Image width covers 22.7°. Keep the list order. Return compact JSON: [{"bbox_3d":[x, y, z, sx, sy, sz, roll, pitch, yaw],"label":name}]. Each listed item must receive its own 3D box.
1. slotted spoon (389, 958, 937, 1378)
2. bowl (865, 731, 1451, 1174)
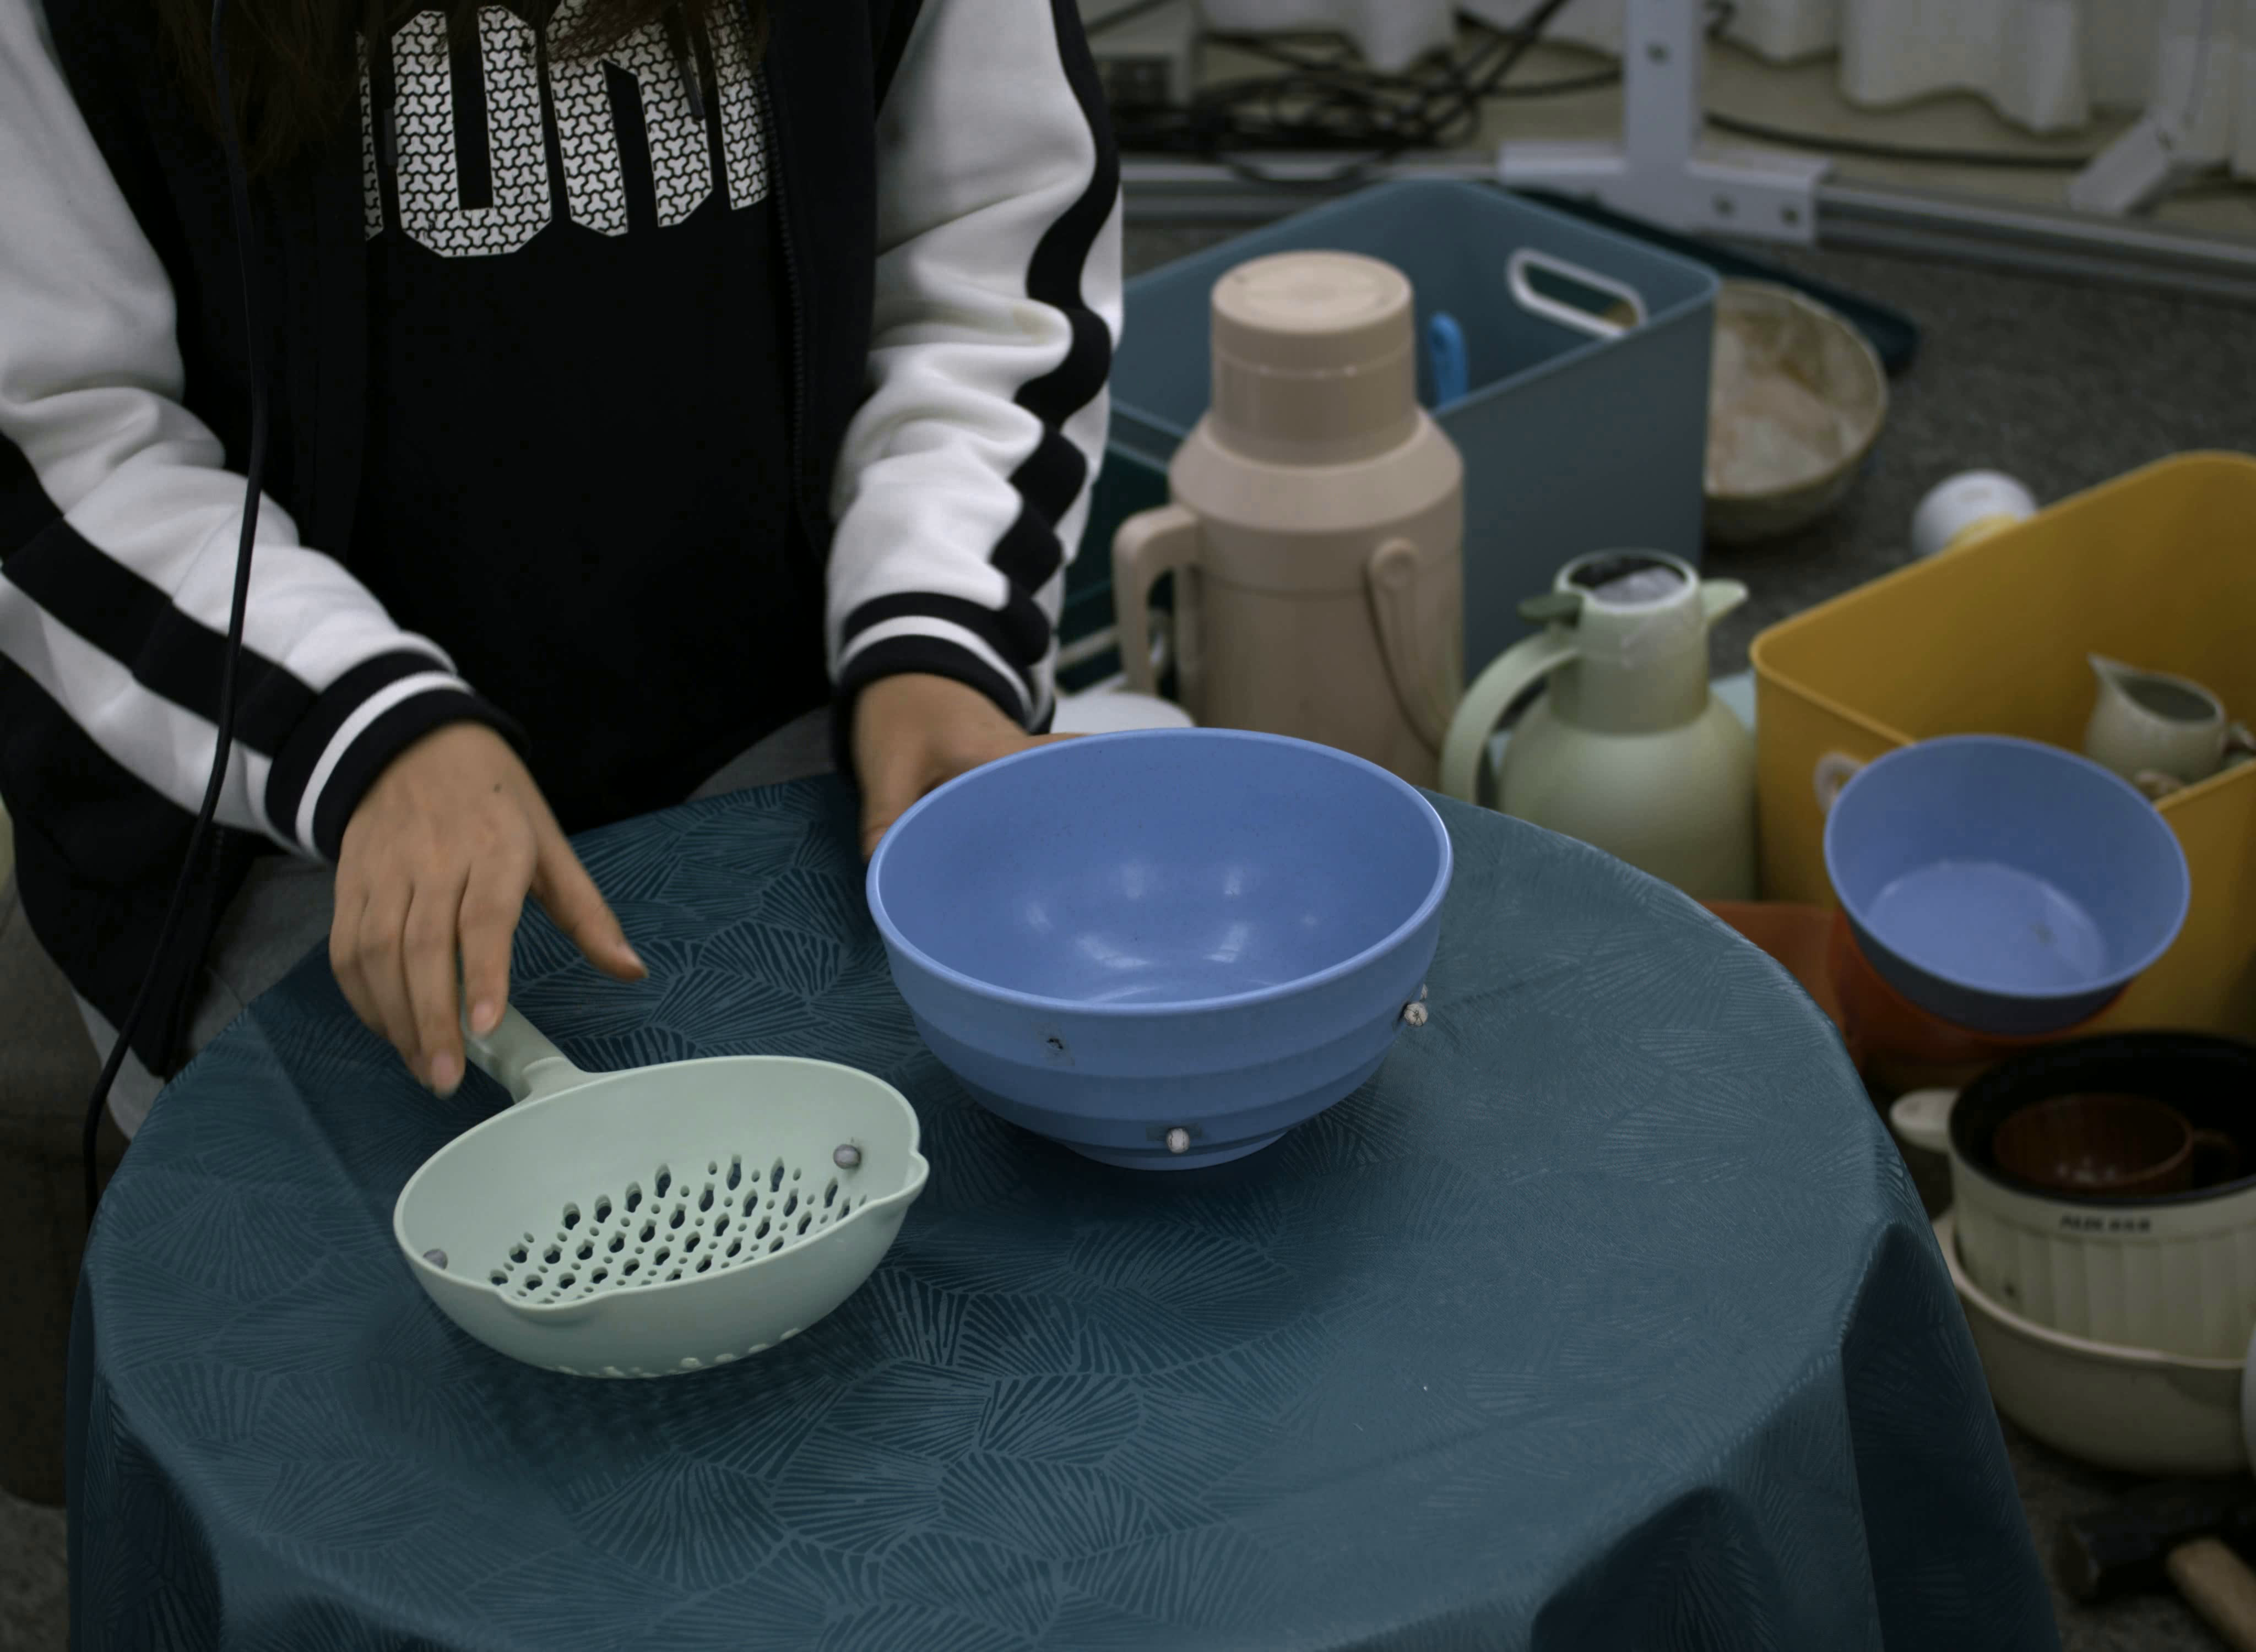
[{"bbox_3d":[-0.186,0.097,1.866,0.170,0.074,0.361,-15,28,-21],"label":"slotted spoon"},{"bbox_3d":[0.013,0.053,1.891,0.195,0.094,0.199,-3,27,2],"label":"bowl"}]
